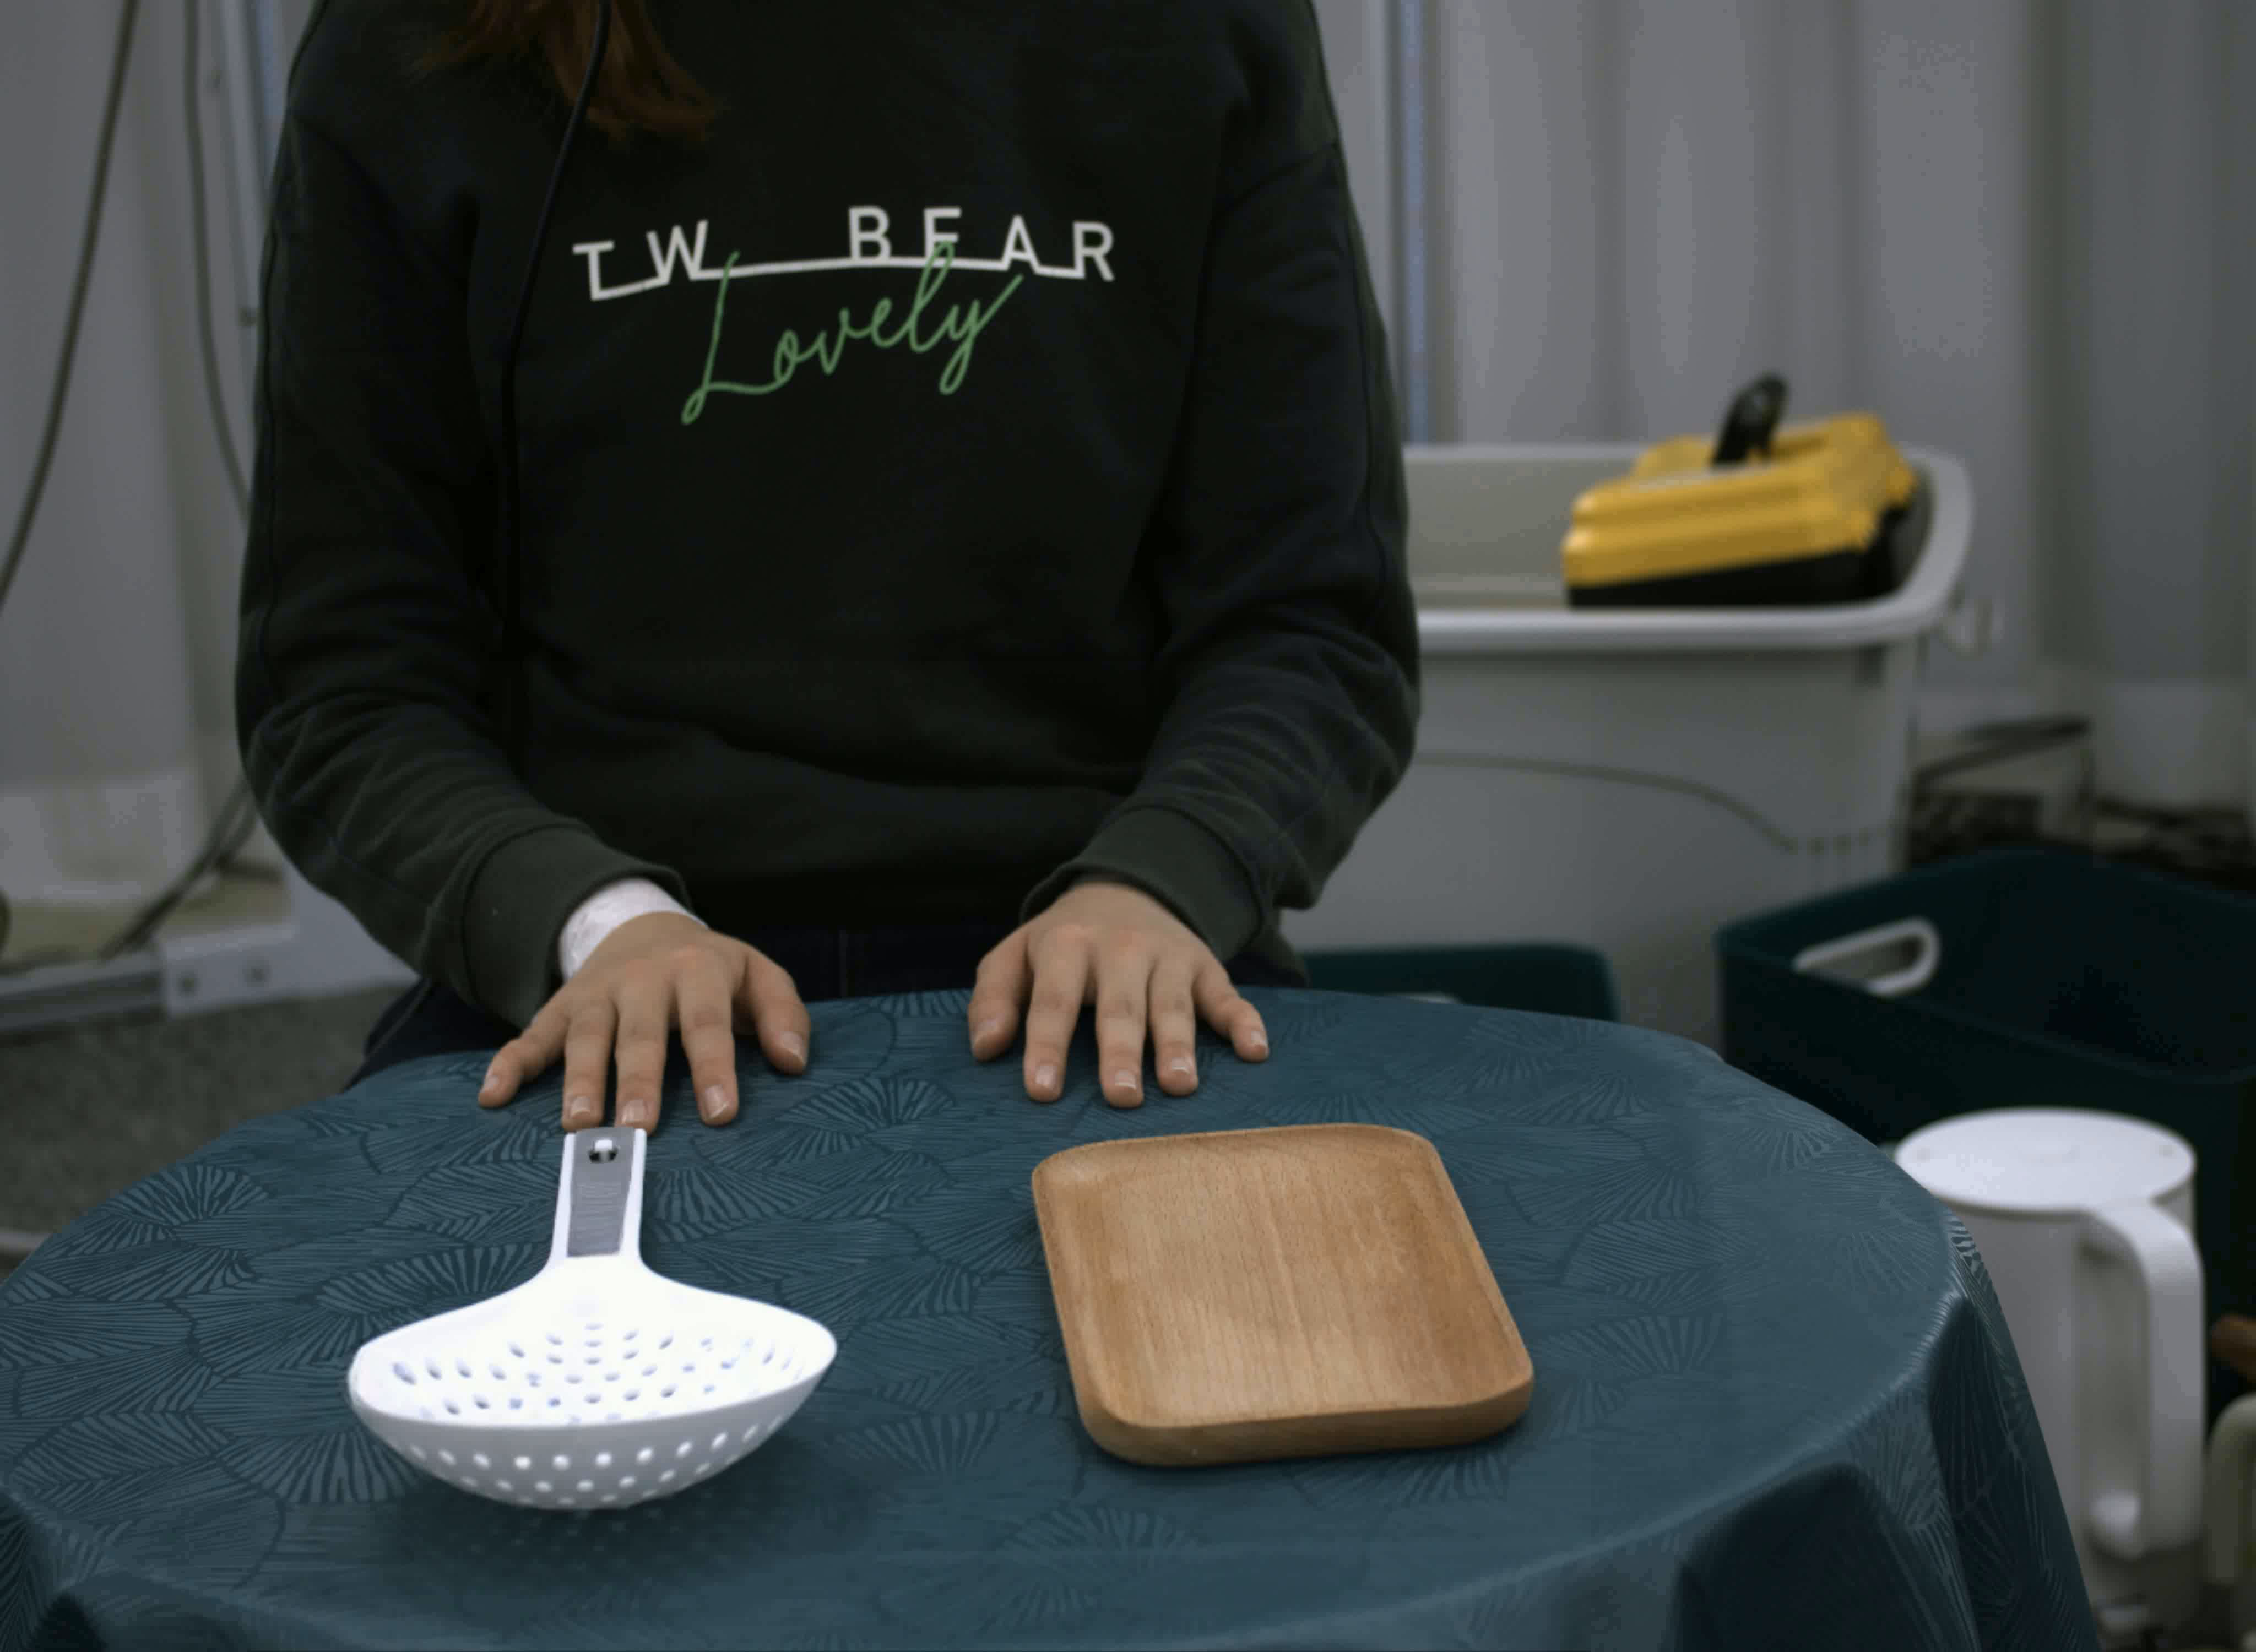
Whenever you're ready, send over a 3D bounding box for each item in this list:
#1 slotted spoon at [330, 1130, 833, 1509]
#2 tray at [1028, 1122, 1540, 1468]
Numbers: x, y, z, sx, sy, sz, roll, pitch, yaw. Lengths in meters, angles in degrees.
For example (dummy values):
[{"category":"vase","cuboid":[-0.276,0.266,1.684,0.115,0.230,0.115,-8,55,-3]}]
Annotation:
[{"category":"slotted spoon","cuboid":[-0.155,0.133,1.586,0.135,0.045,0.352,-1,14,-4]},{"category":"tray","cuboid":[0.042,0.134,1.600,0.130,0.023,0.252,-2,14,-4]}]
